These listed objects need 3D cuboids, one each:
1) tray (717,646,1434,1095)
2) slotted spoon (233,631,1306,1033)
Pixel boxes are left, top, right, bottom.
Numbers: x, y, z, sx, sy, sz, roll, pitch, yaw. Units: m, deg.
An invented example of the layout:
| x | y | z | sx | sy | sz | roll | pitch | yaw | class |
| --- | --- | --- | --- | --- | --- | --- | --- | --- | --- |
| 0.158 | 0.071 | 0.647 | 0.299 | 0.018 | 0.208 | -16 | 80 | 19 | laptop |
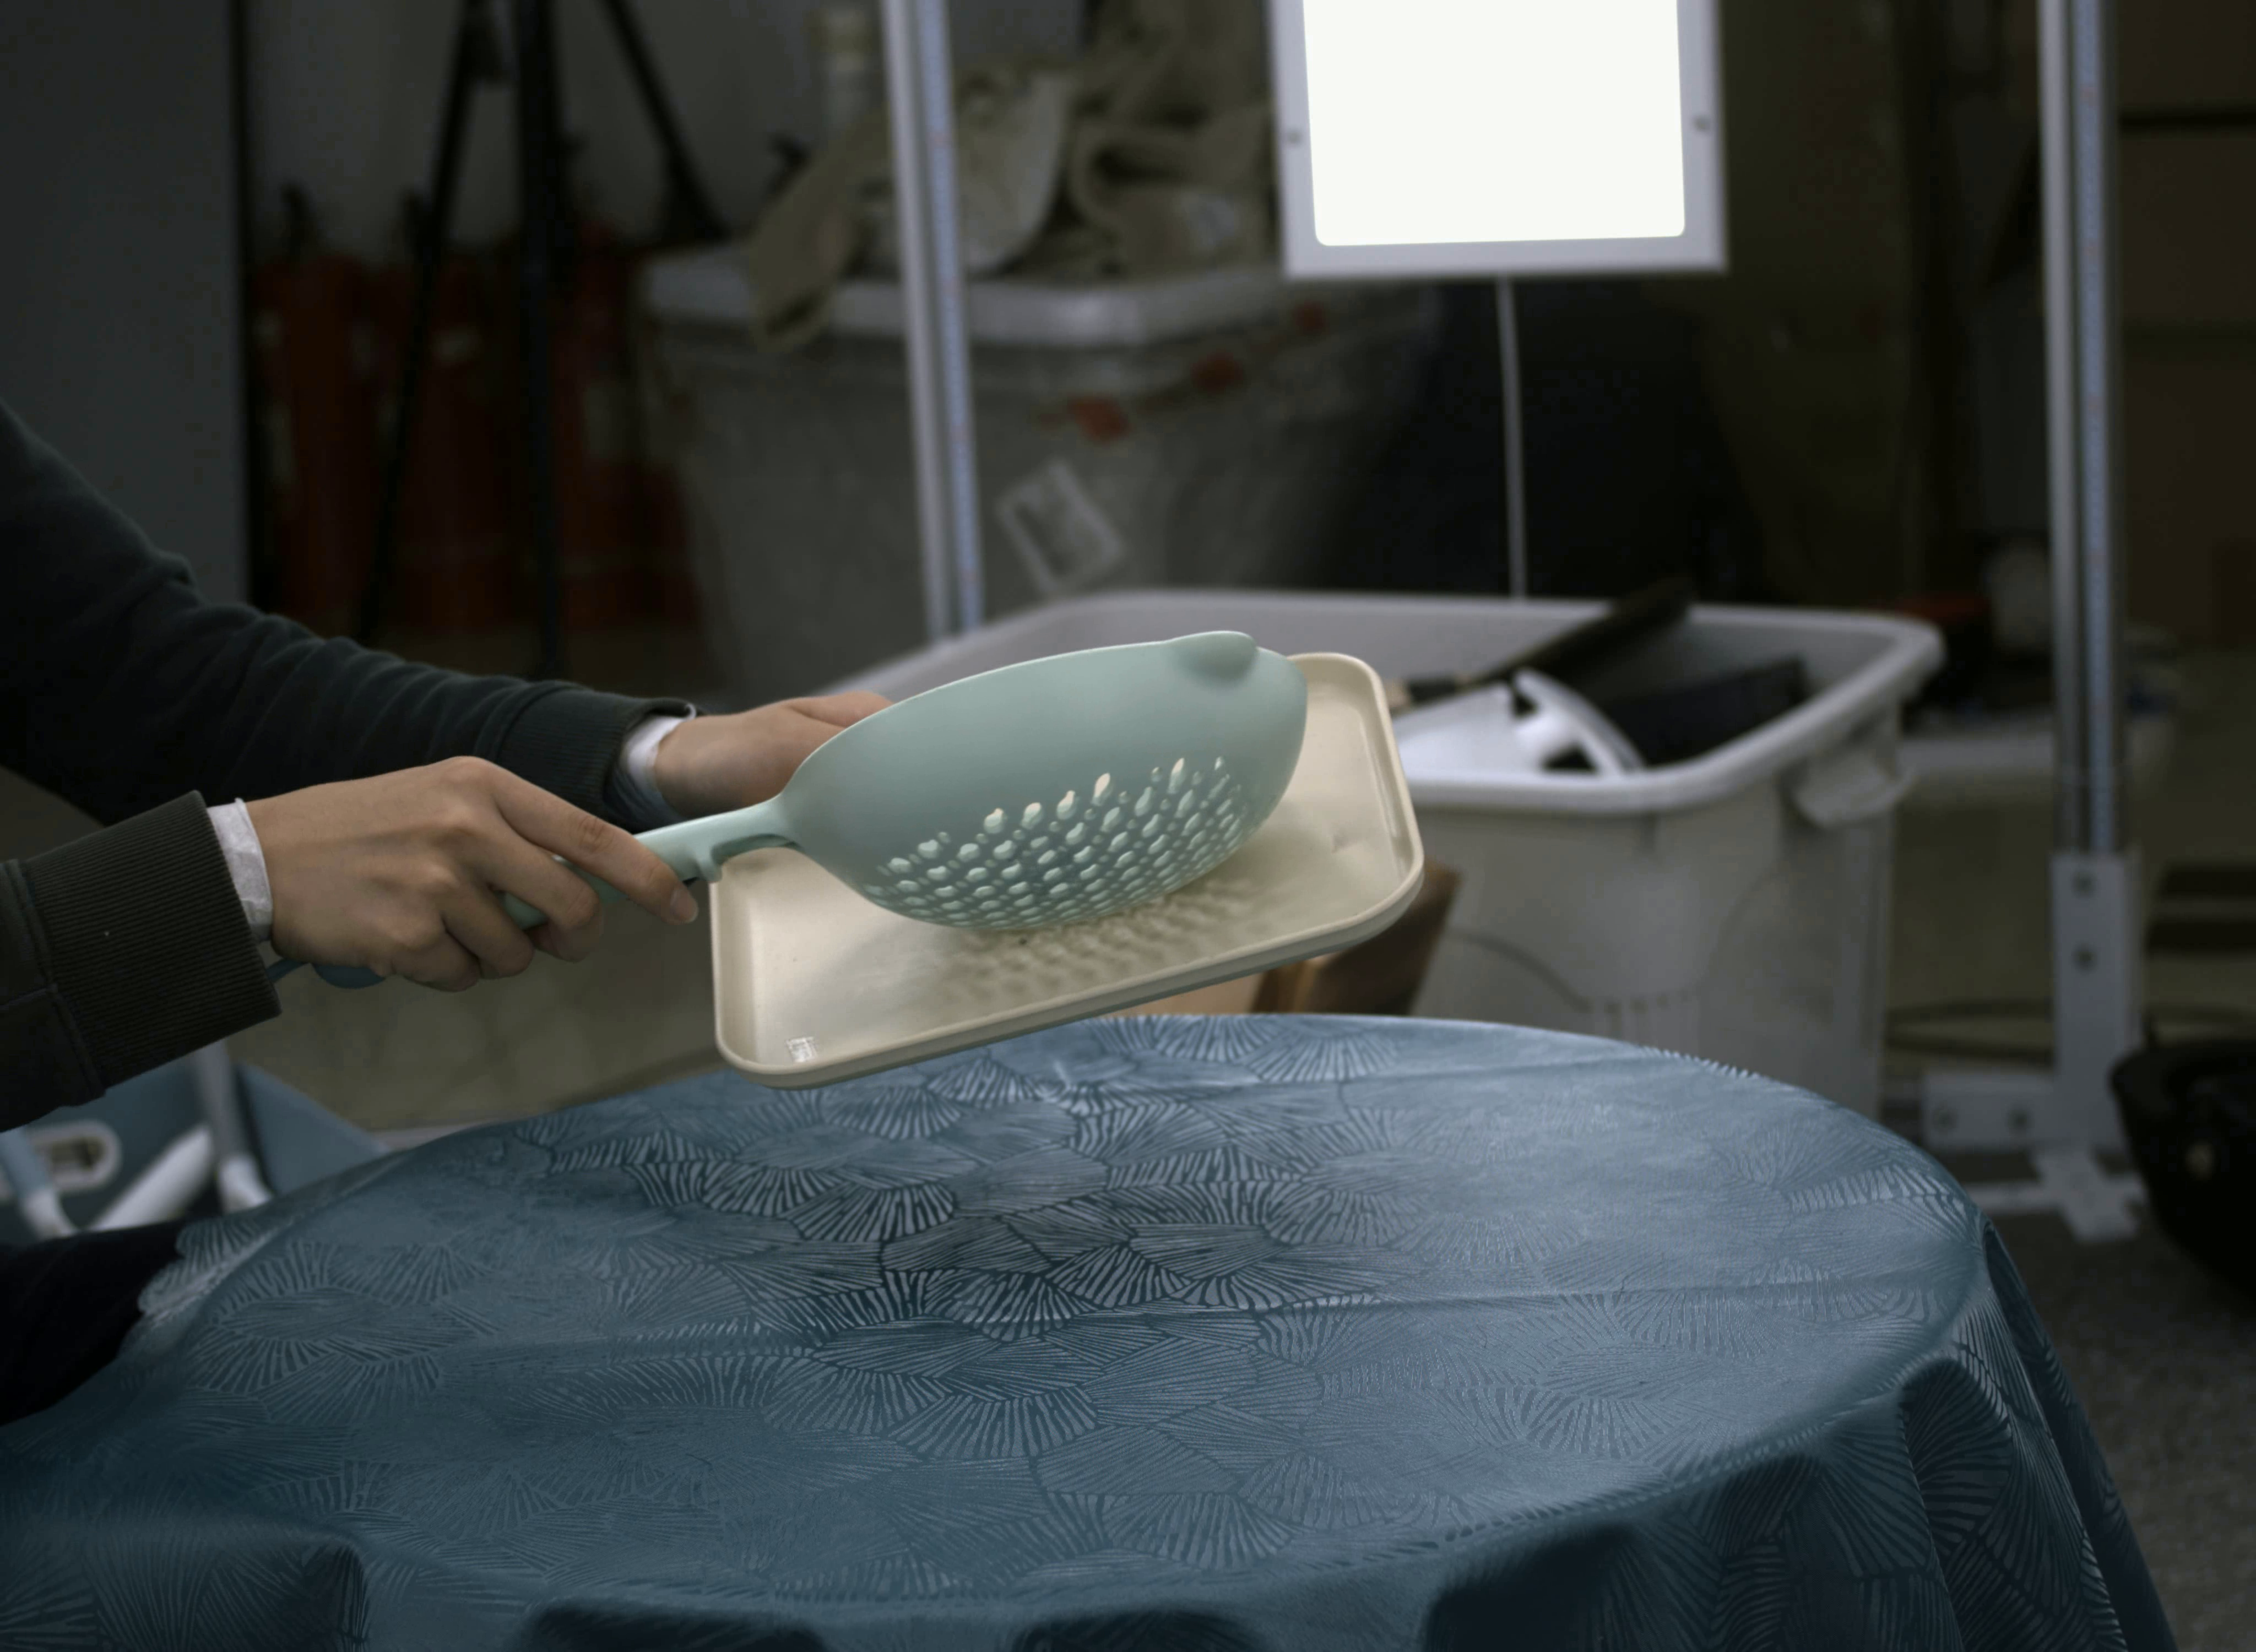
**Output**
| x | y | z | sx | sy | sz | roll | pitch | yaw | class |
| --- | --- | --- | --- | --- | --- | --- | --- | --- | --- |
| -0.019 | 0.015 | 1.828 | 0.240 | 0.017 | 0.171 | -17 | 32 | 6 | tray |
| -0.117 | 0.009 | 1.775 | 0.360 | 0.075 | 0.168 | -7 | -16 | 8 | slotted spoon |
